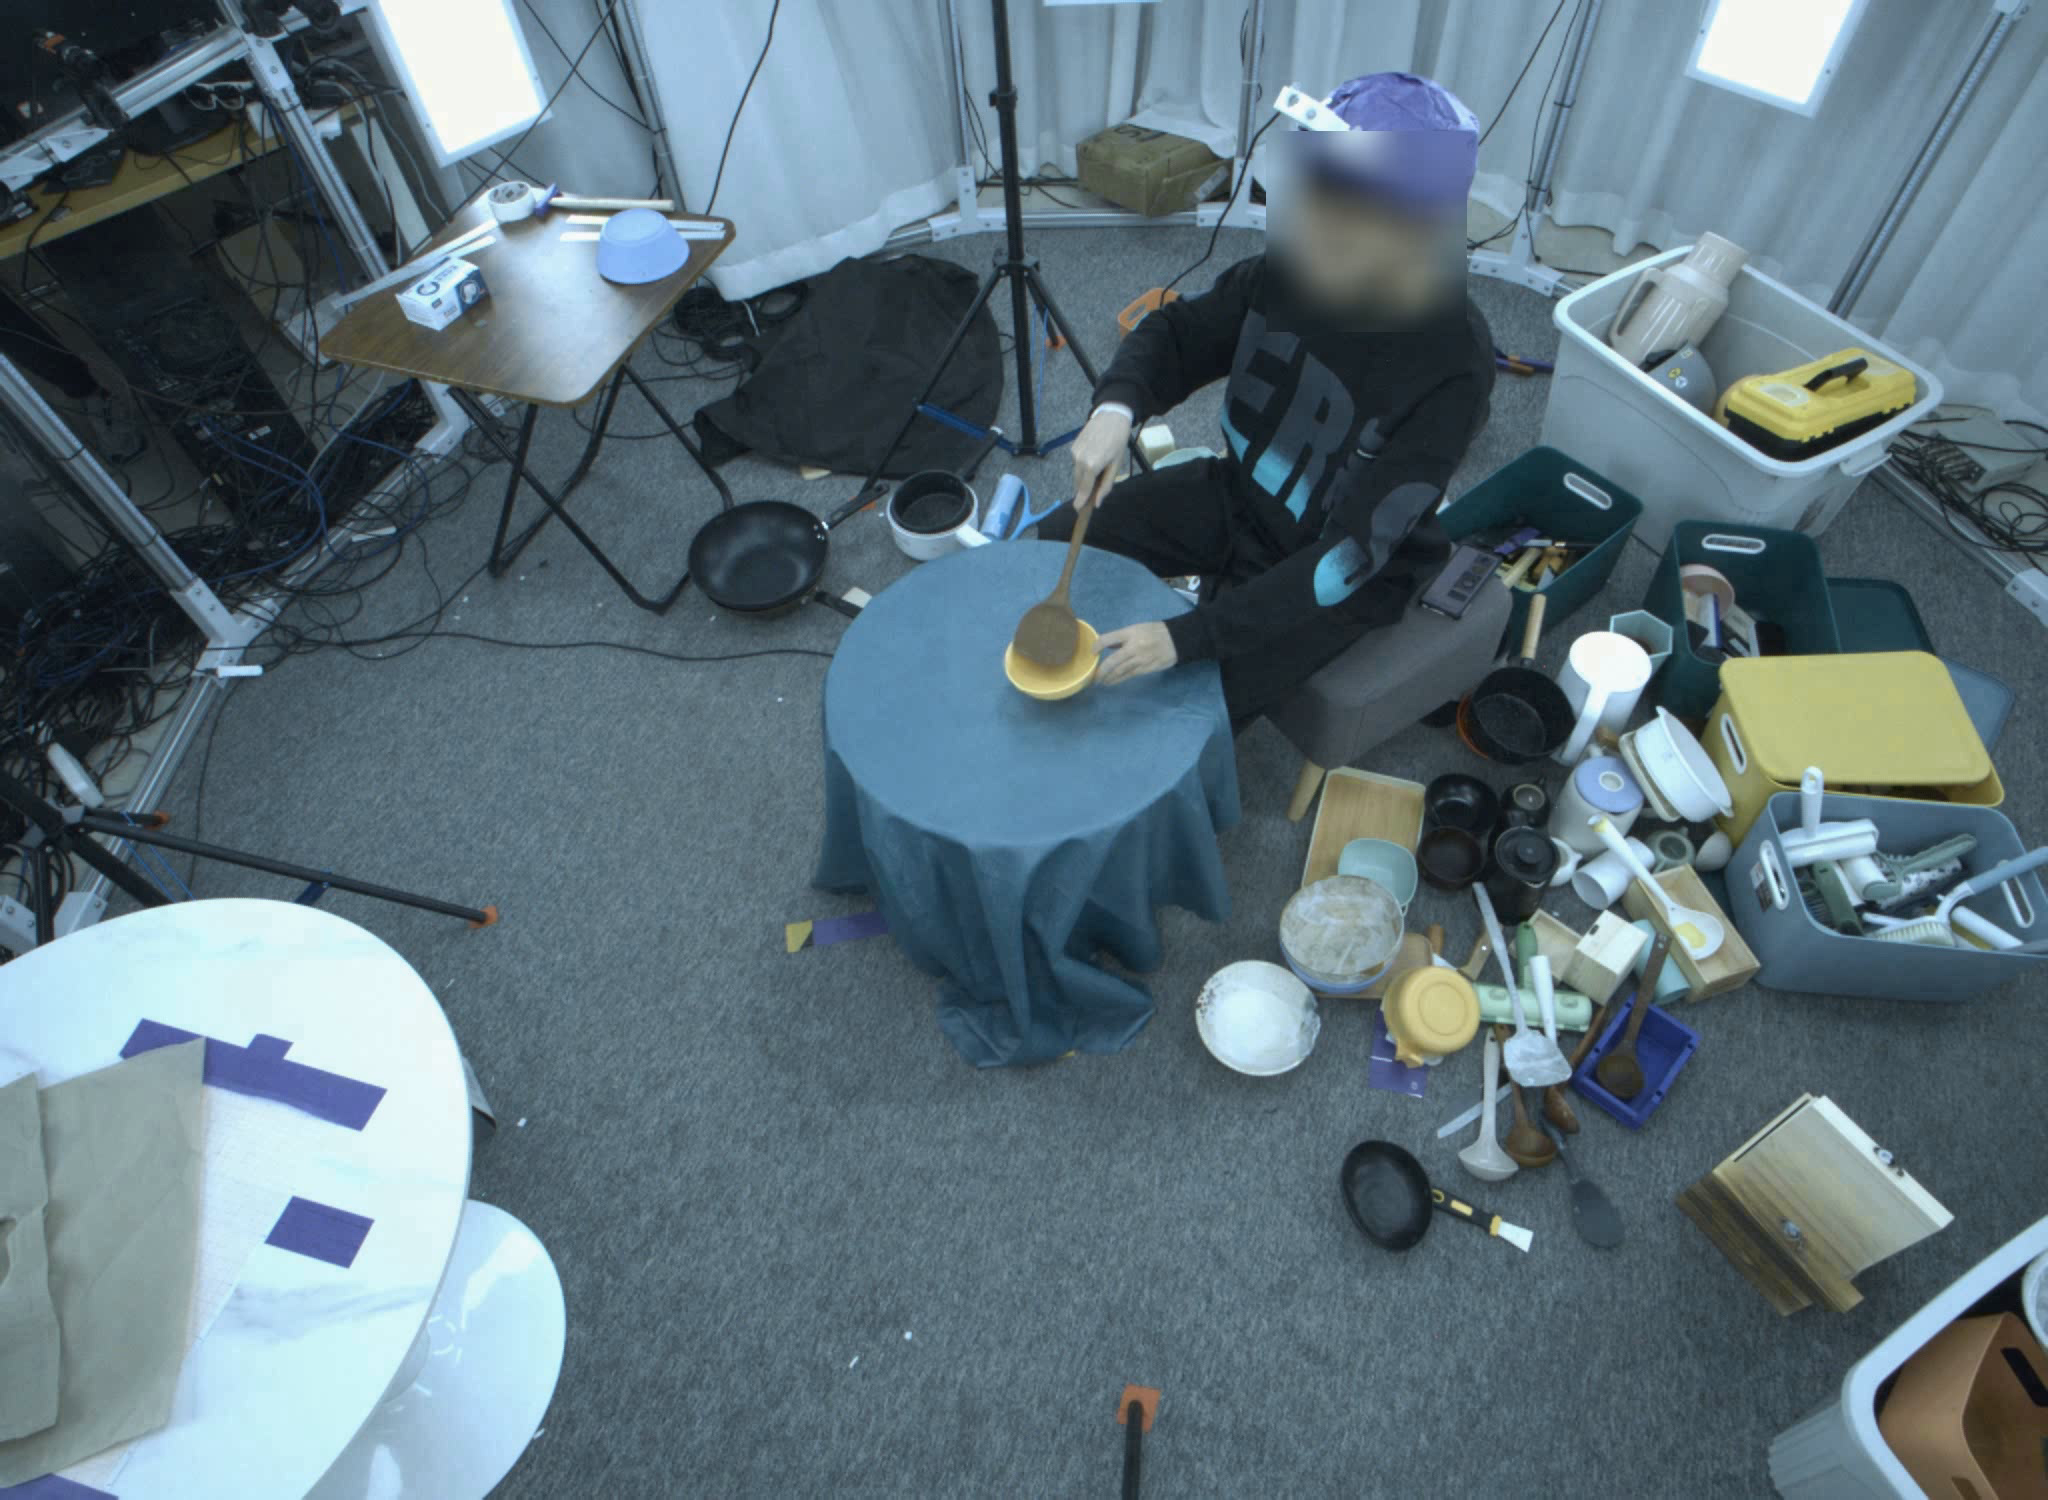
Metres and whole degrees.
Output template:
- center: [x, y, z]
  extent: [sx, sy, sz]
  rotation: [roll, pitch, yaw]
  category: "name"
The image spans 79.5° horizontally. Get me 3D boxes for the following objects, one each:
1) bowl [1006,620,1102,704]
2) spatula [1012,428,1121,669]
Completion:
- center: [0.049, -0.120, 1.826]
  extent: [0.144, 0.061, 0.144]
  rotation: [-6, 56, 9]
  category: "bowl"
- center: [0.078, -0.307, 1.832]
  extent: [0.095, 0.016, 0.385]
  rotation: [17, 87, 7]
  category: "spatula"
